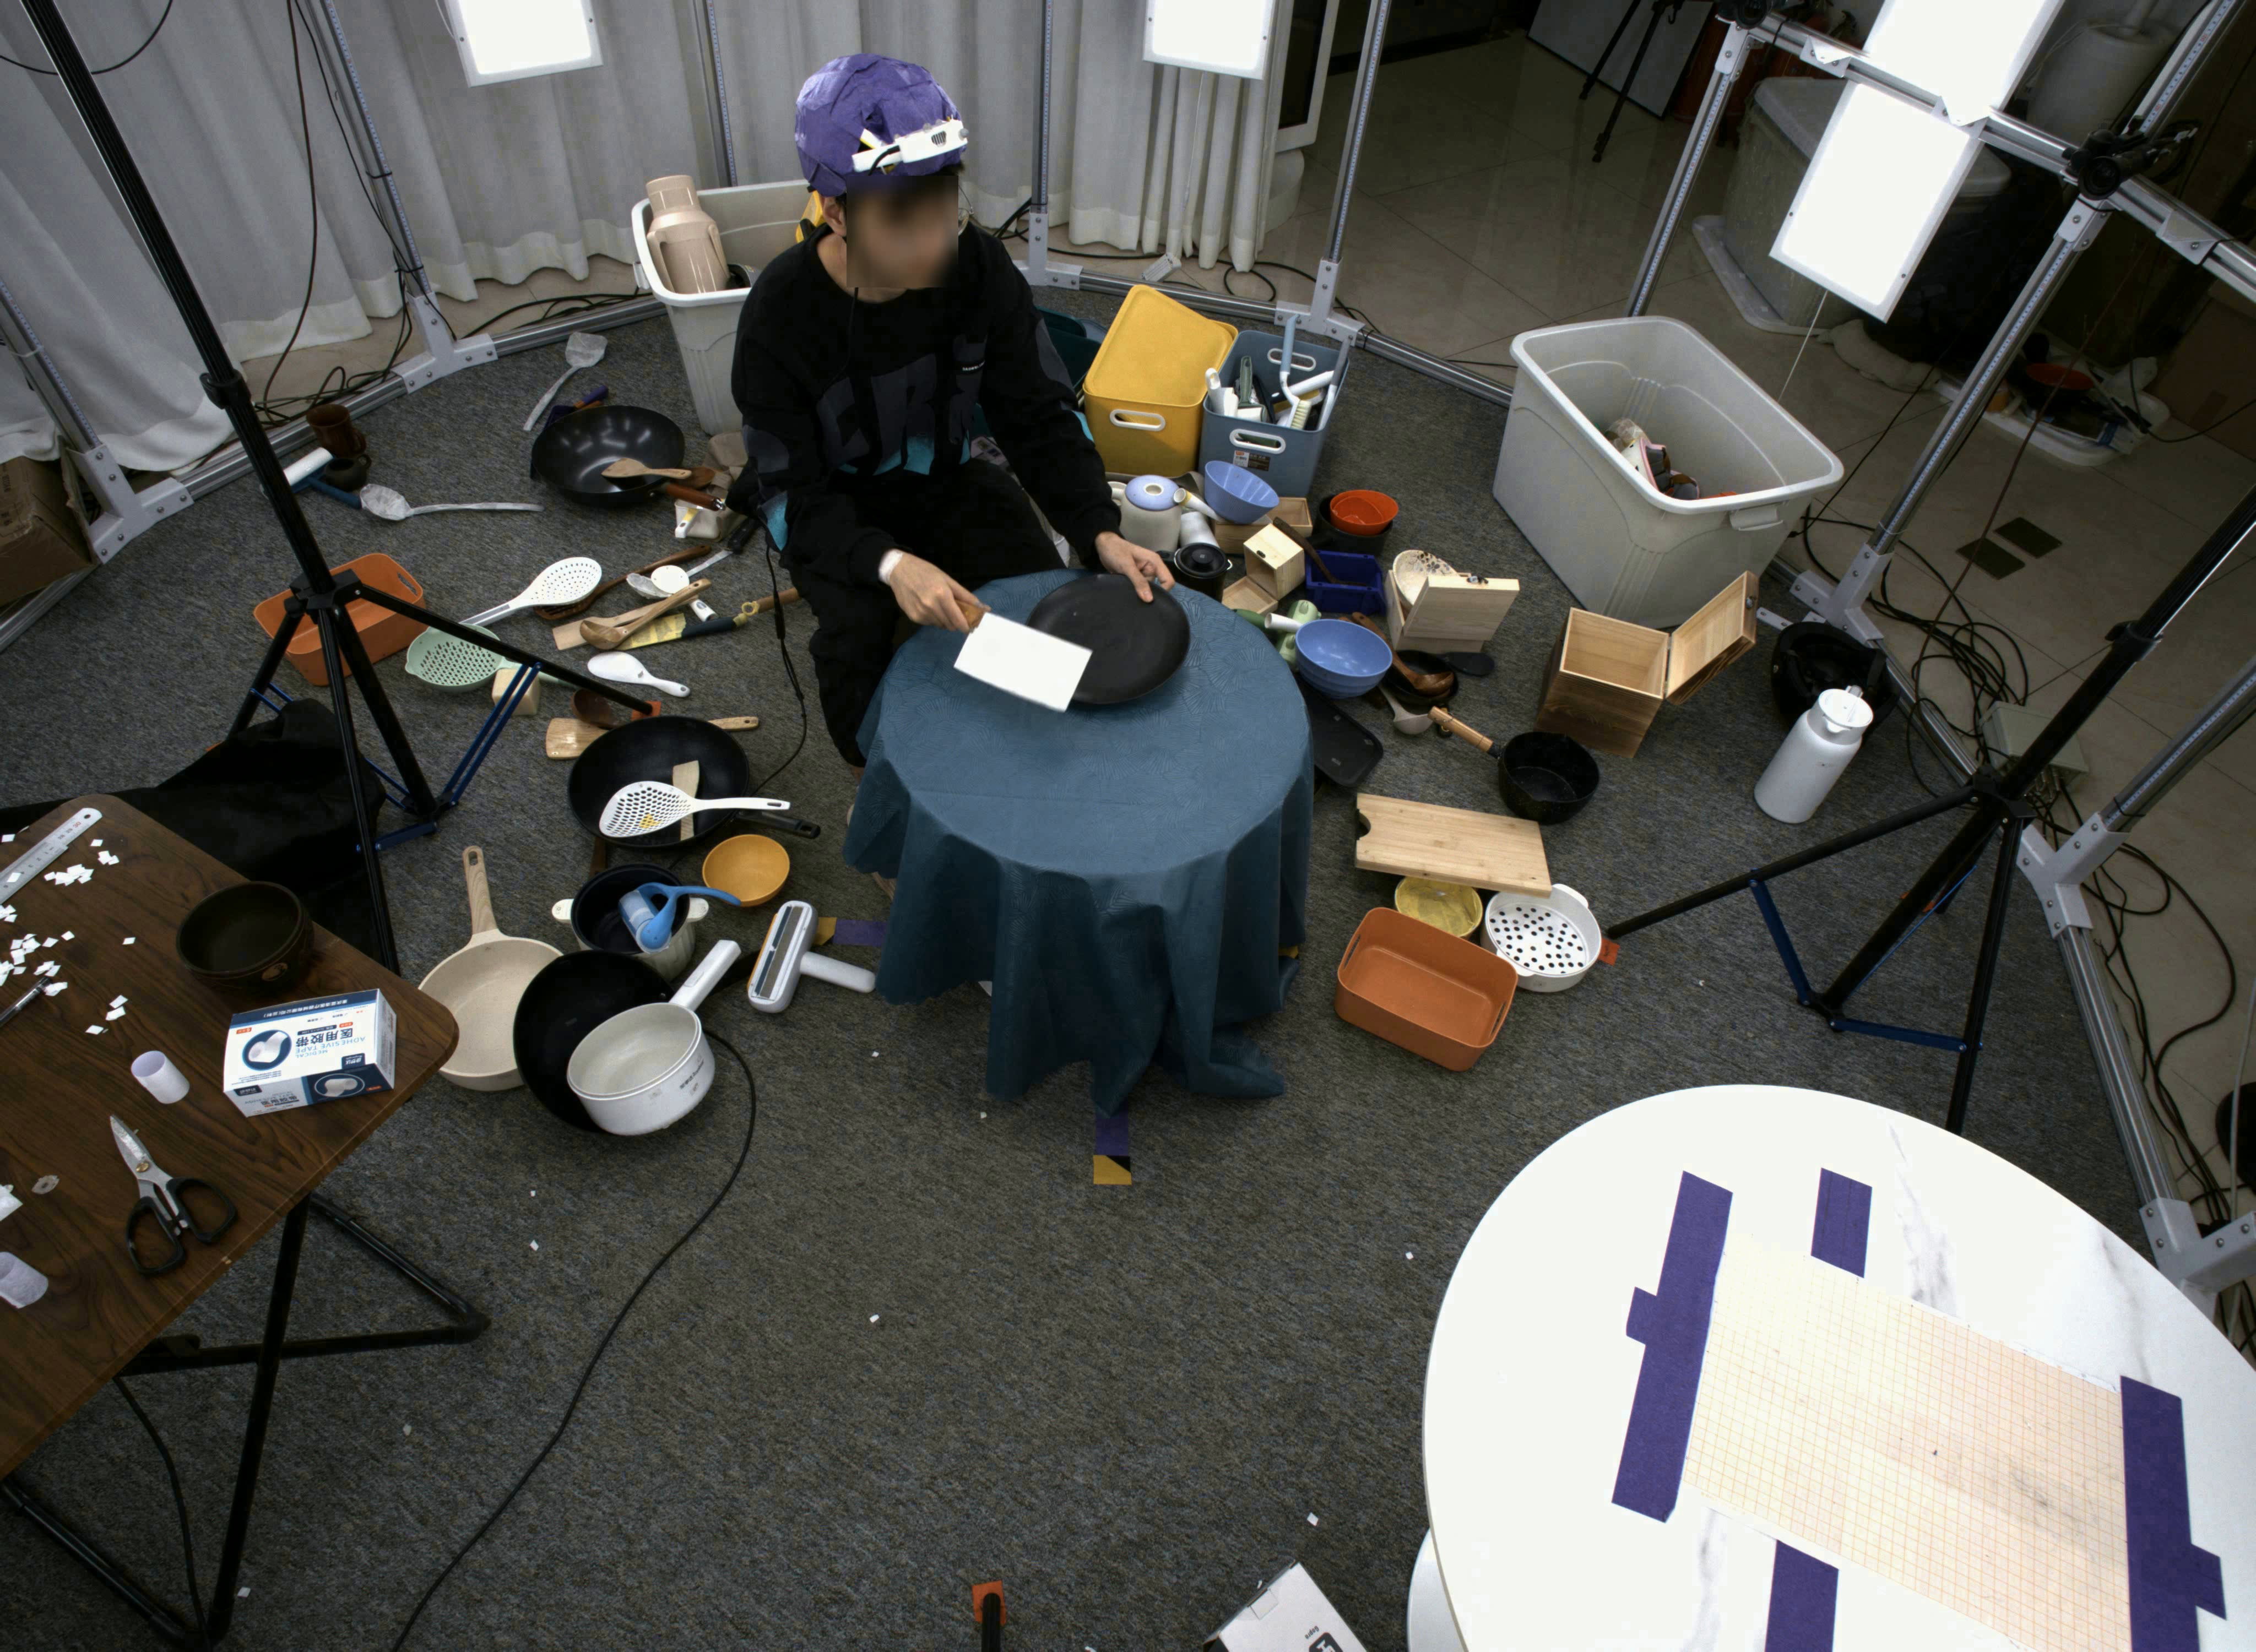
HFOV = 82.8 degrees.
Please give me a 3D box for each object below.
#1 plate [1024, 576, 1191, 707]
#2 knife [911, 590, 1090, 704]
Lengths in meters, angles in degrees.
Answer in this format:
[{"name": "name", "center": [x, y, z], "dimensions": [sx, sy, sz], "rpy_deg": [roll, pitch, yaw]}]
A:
[{"name": "plate", "center": [-0.029, -0.266, 1.862], "dimensions": [0.244, 0.023, 0.250], "rpy_deg": [-2, 56, 3]}, {"name": "knife", "center": [-0.189, -0.245, 1.772], "dimensions": [0.309, 0.021, 0.093], "rpy_deg": [25, 89, 27]}]
